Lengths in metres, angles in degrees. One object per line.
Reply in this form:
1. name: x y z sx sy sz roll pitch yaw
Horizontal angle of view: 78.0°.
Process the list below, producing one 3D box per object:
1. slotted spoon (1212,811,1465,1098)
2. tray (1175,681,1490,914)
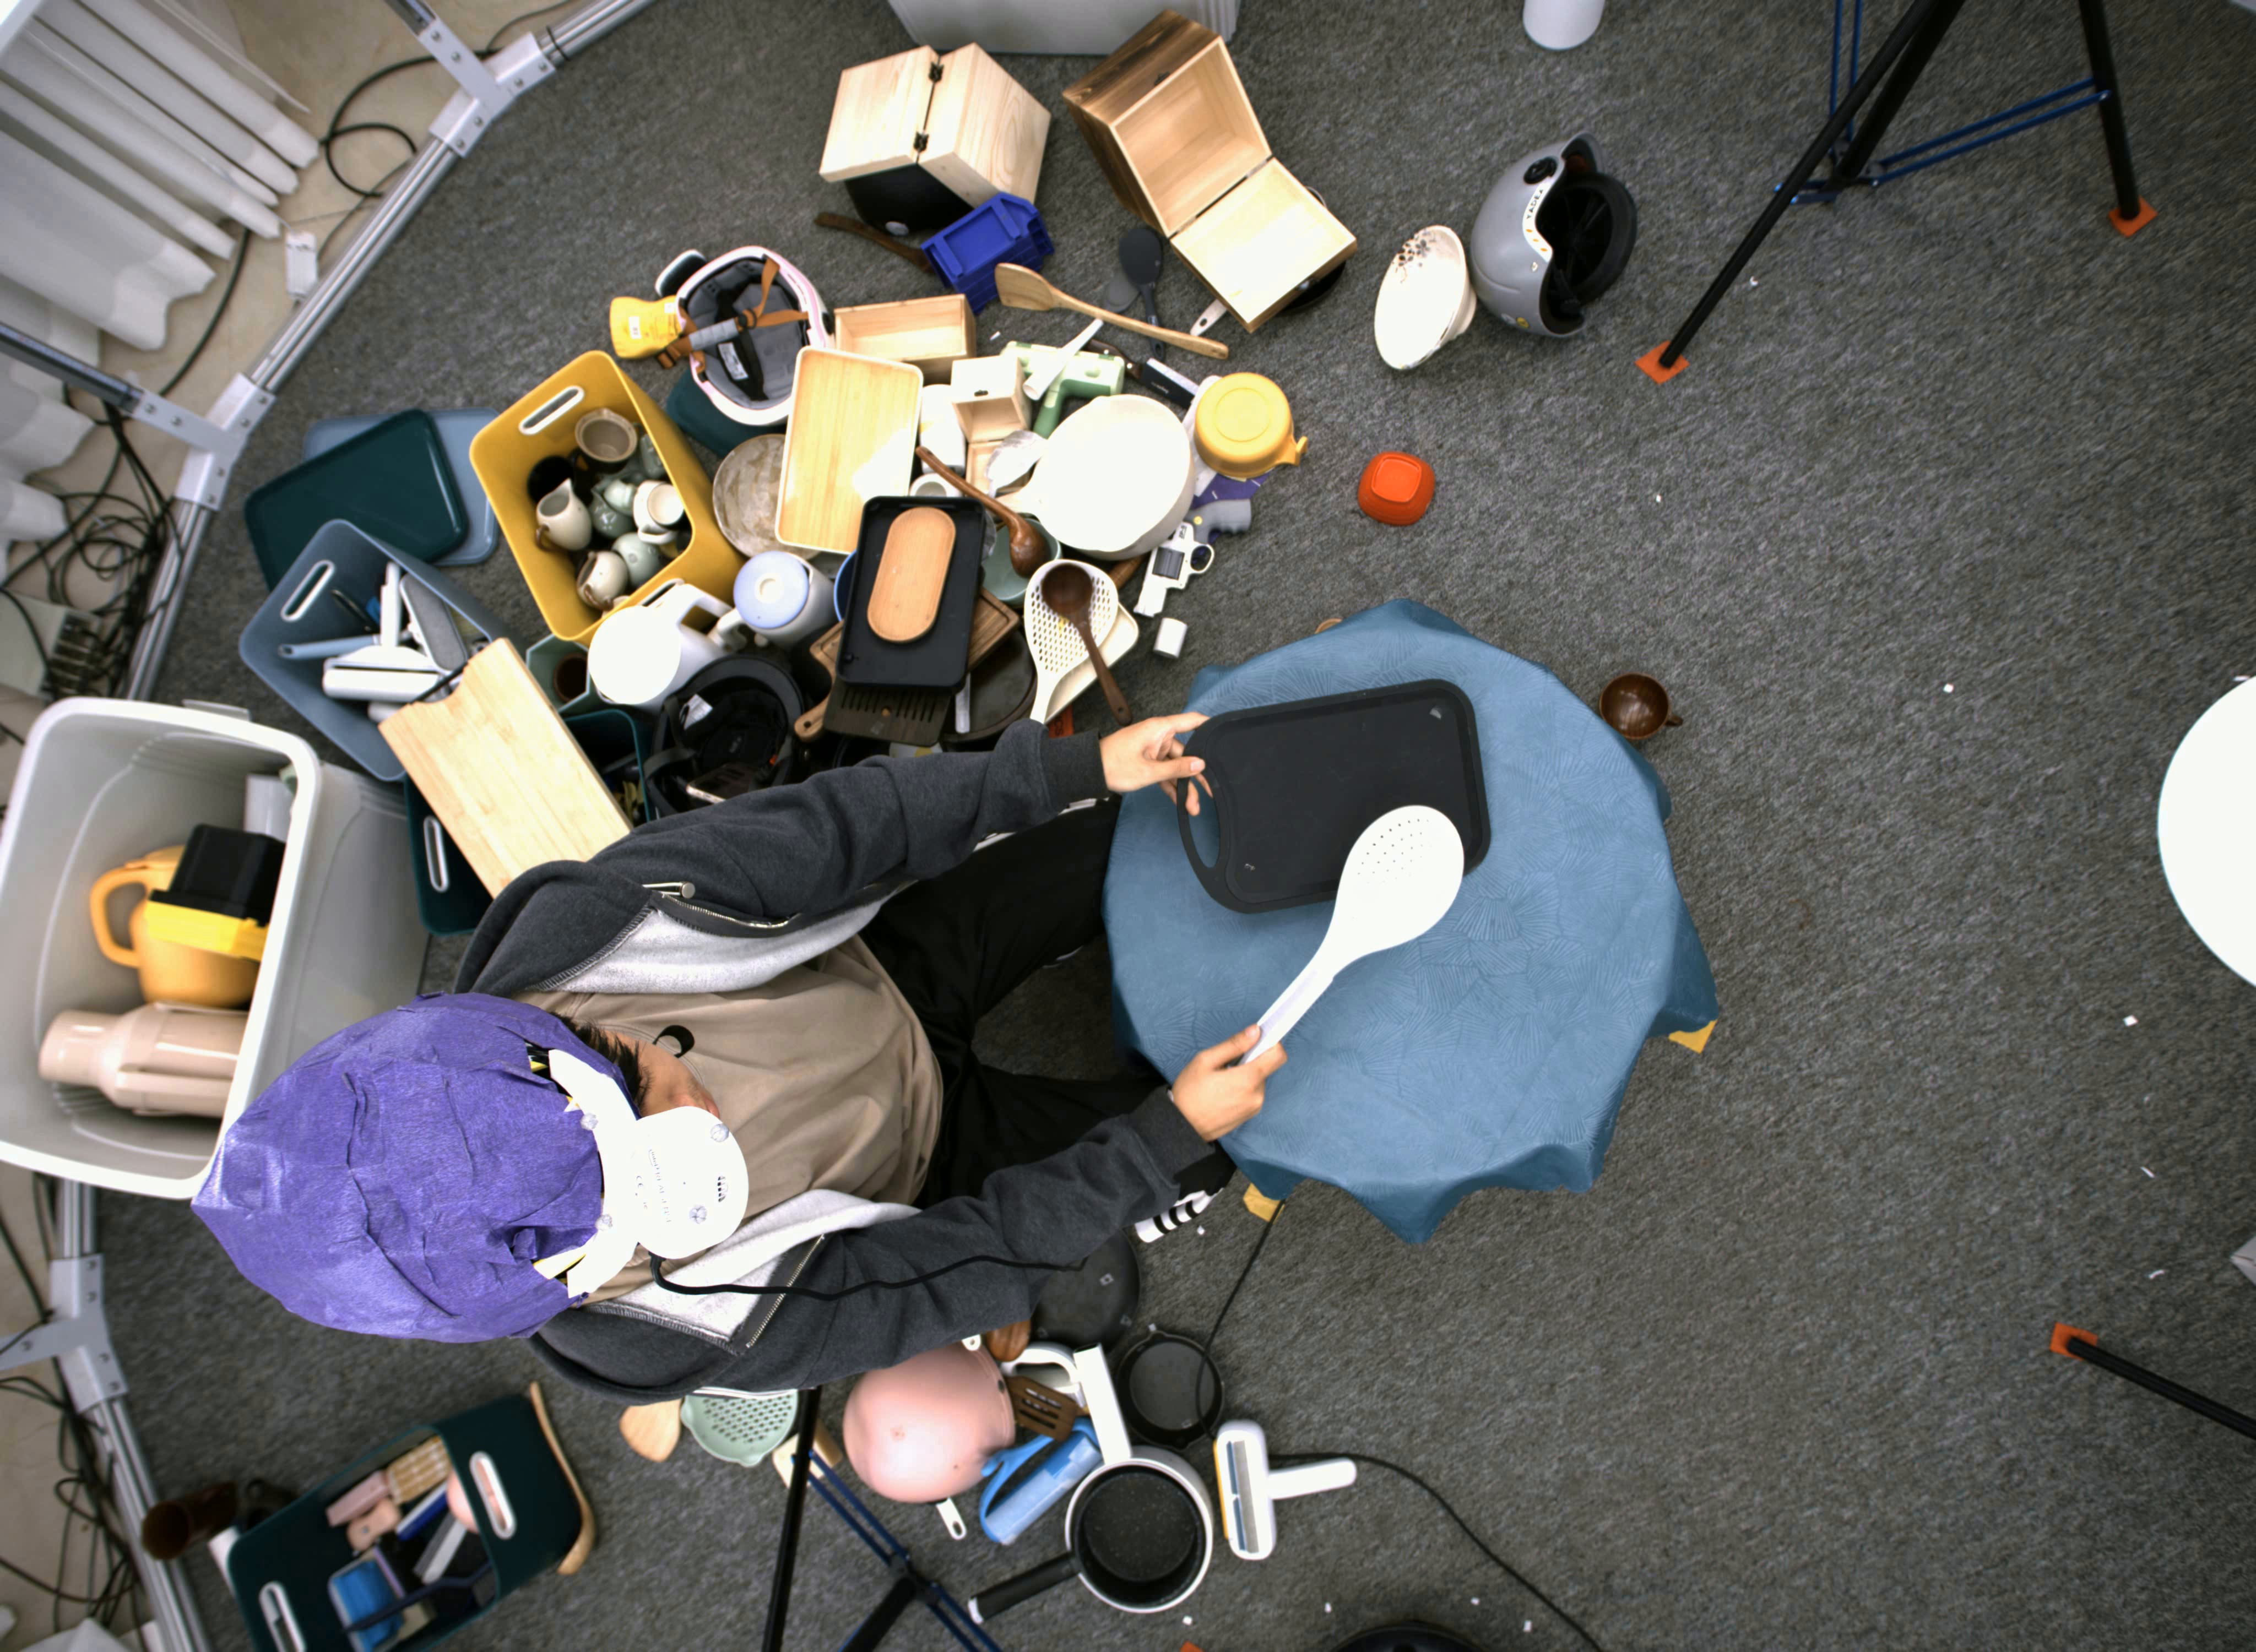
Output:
1. slotted spoon: 0.198 0.132 1.338 0.353 0.046 0.133 -48 41 13
2. tray: 0.211 -0.028 1.417 0.325 0.010 0.212 -9 98 -4
